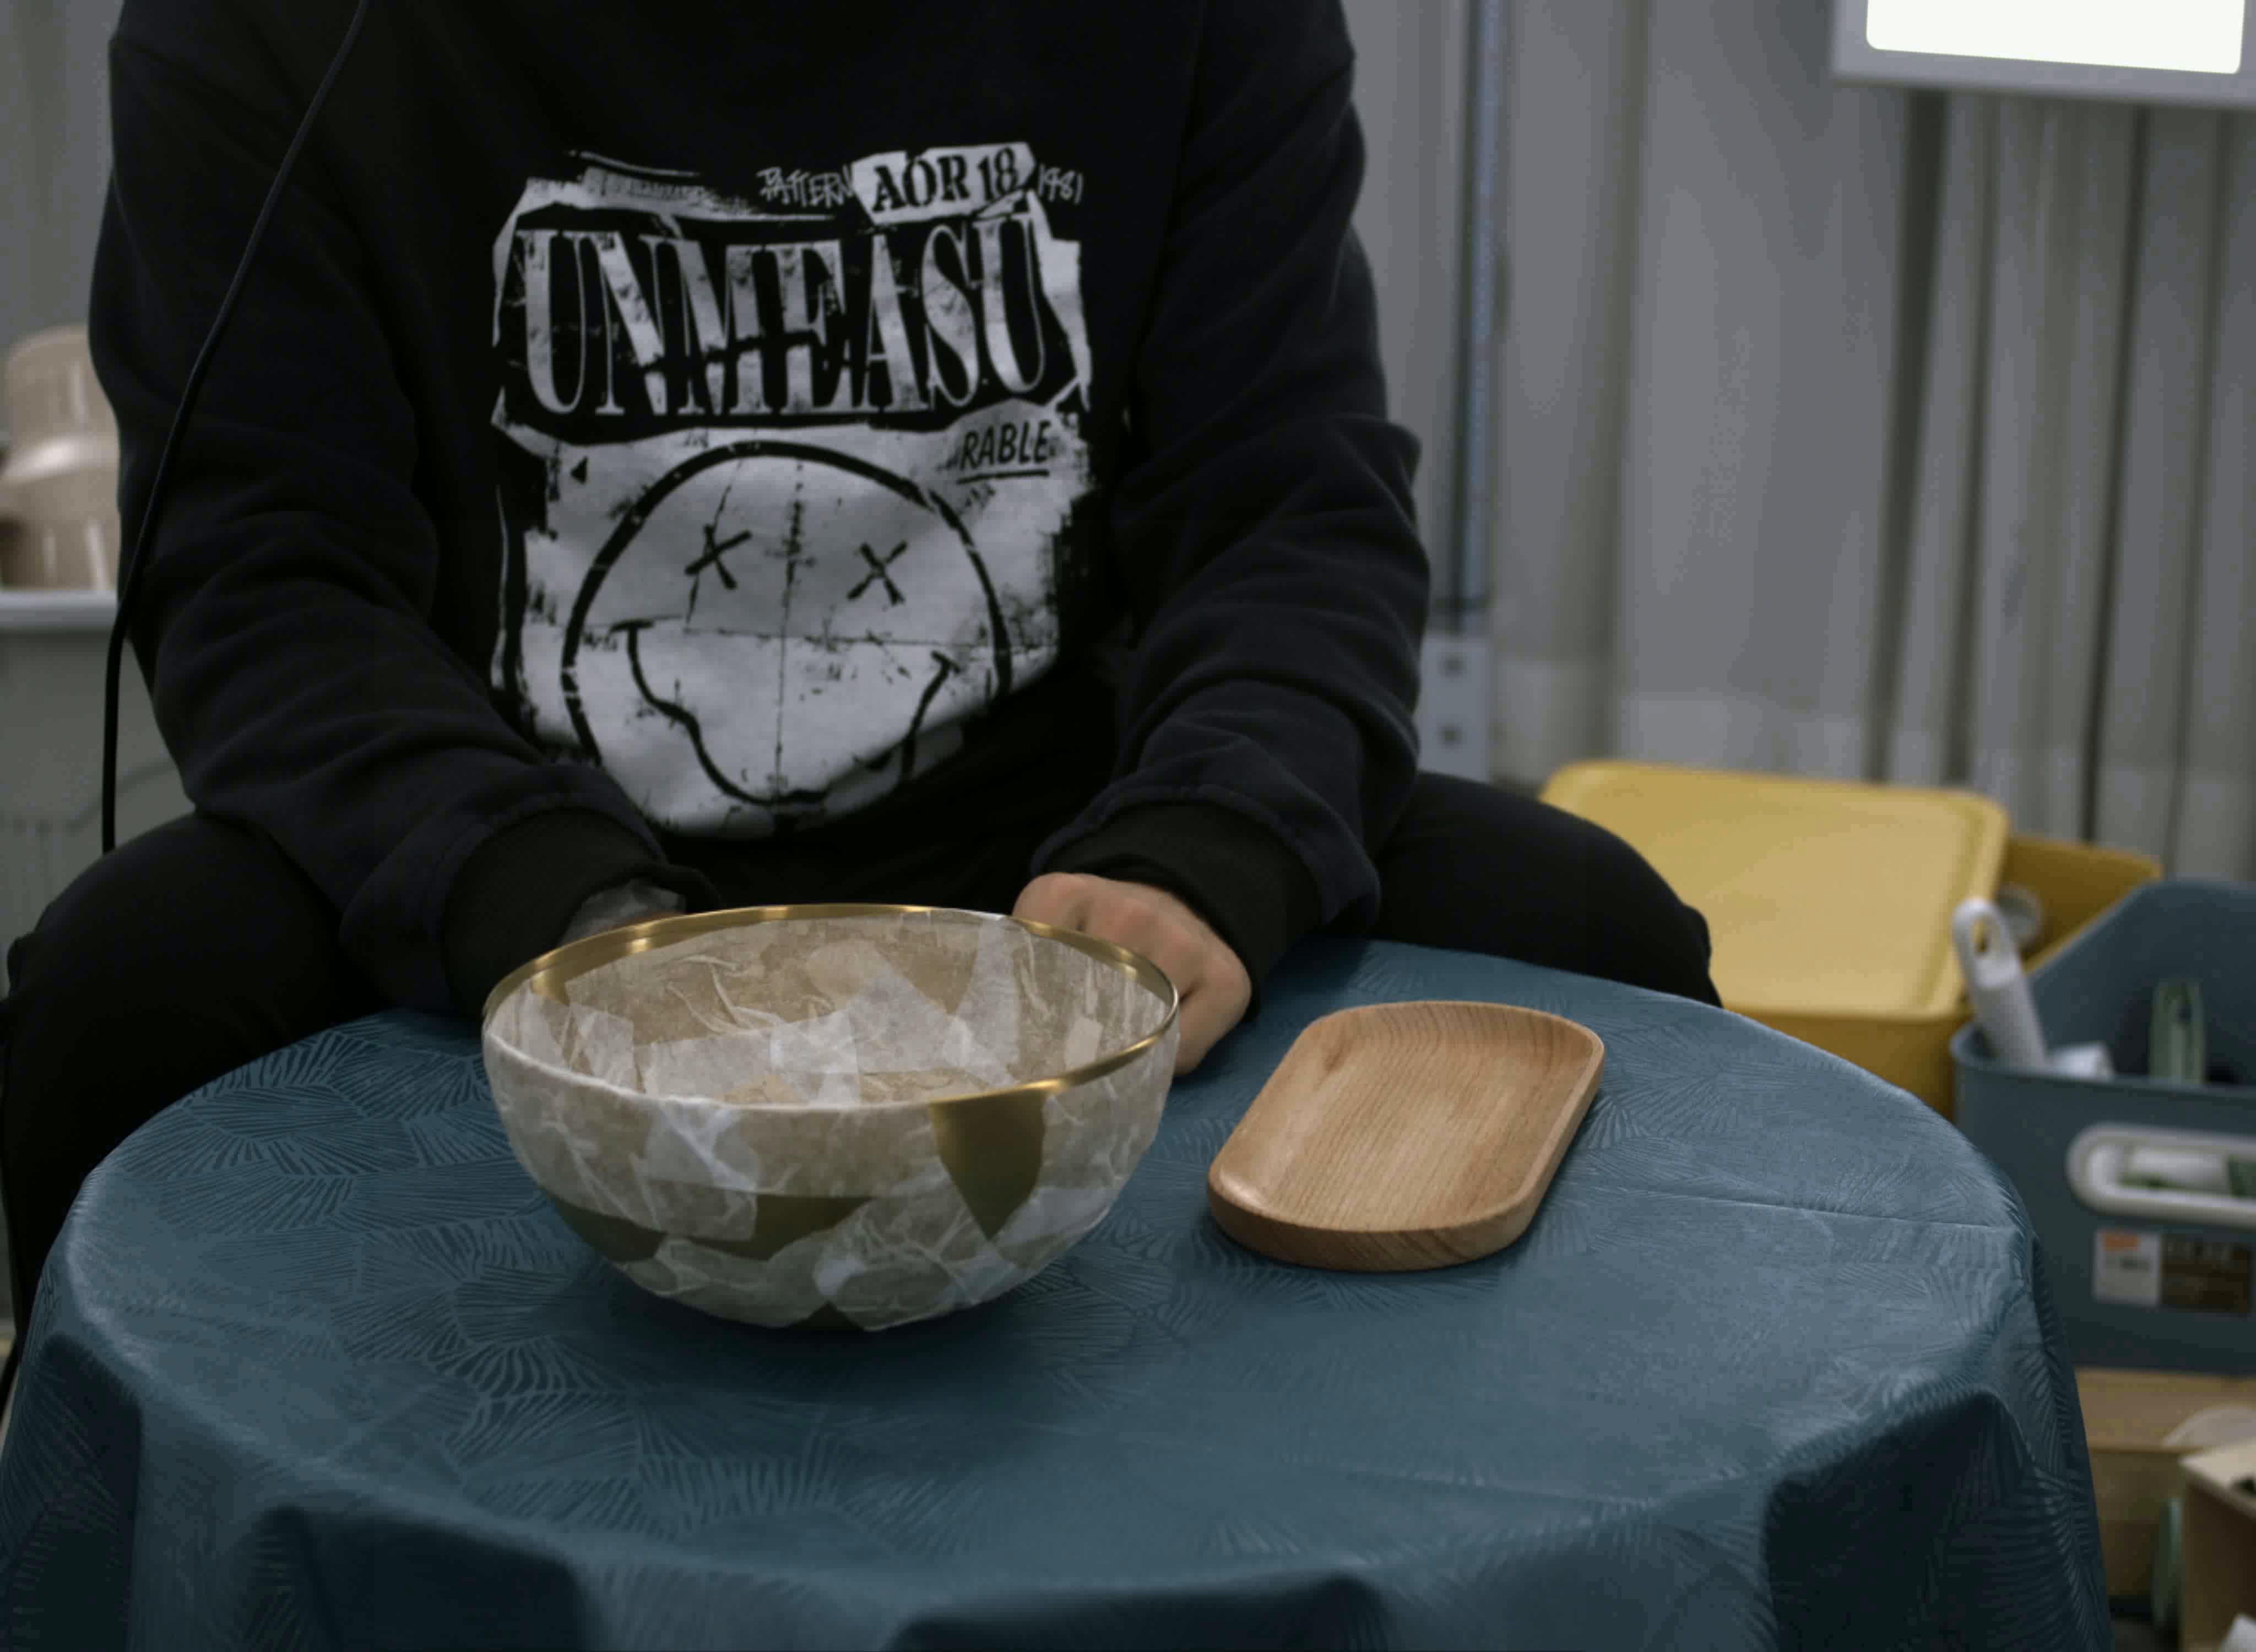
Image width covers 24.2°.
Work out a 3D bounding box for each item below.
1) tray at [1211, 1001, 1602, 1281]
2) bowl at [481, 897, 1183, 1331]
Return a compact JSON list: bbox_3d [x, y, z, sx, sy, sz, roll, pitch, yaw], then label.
[{"bbox_3d":[0.090,0.097,1.658,0.101,0.020,0.230,2,18,12],"label":"tray"},{"bbox_3d":[-0.081,0.091,1.527,0.214,0.095,0.213,-1,16,1],"label":"bowl"}]
